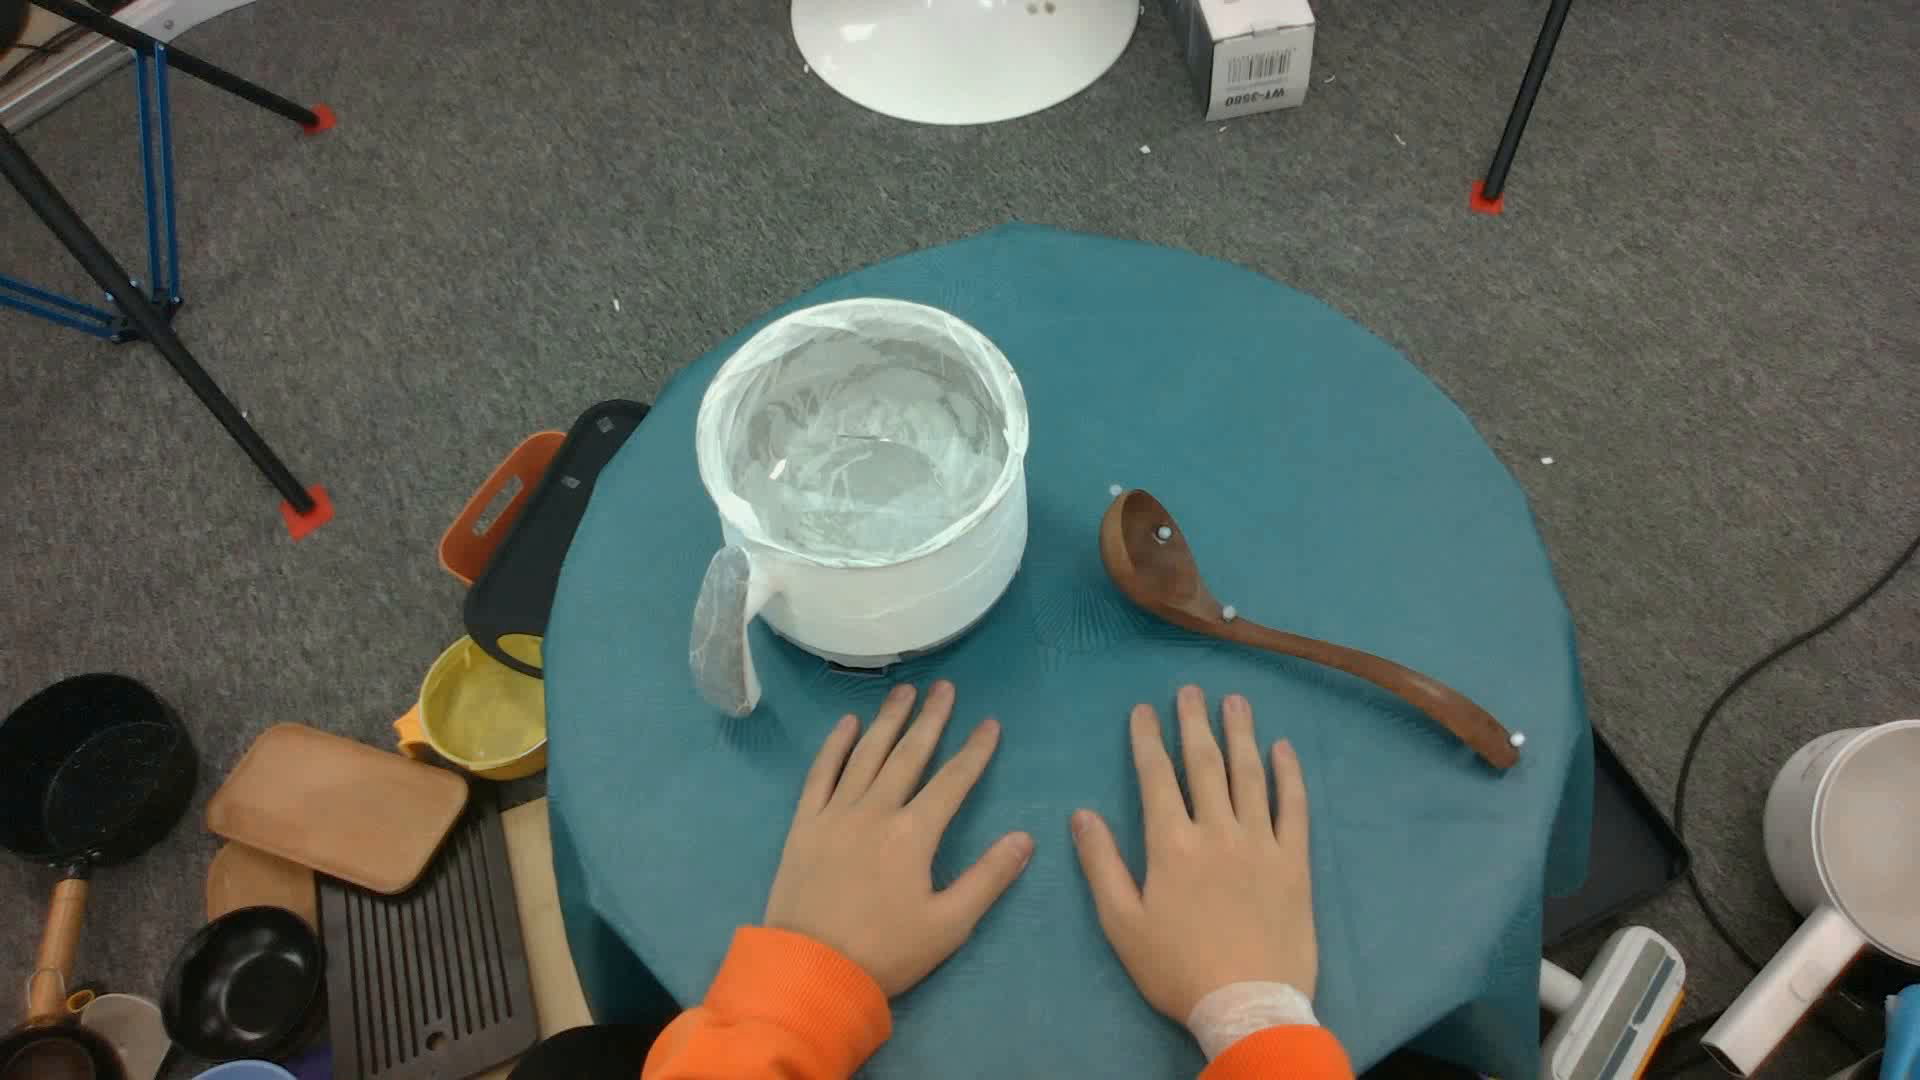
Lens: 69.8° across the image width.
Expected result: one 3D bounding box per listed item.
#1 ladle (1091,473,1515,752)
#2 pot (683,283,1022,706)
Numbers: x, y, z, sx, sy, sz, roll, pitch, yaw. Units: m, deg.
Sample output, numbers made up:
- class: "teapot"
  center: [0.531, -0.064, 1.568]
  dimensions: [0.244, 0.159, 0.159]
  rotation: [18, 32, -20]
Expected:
- class: "ladle"
  center: [0.192, 0.039, 0.771]
  dimensions: [0.260, 0.065, 0.077]
  rotation: [24, 38, 17]
- class: "pot"
  center: [-0.069, -0.016, 0.769]
  dimensions: [0.179, 0.136, 0.234]
  rotation: [30, 64, 19]
